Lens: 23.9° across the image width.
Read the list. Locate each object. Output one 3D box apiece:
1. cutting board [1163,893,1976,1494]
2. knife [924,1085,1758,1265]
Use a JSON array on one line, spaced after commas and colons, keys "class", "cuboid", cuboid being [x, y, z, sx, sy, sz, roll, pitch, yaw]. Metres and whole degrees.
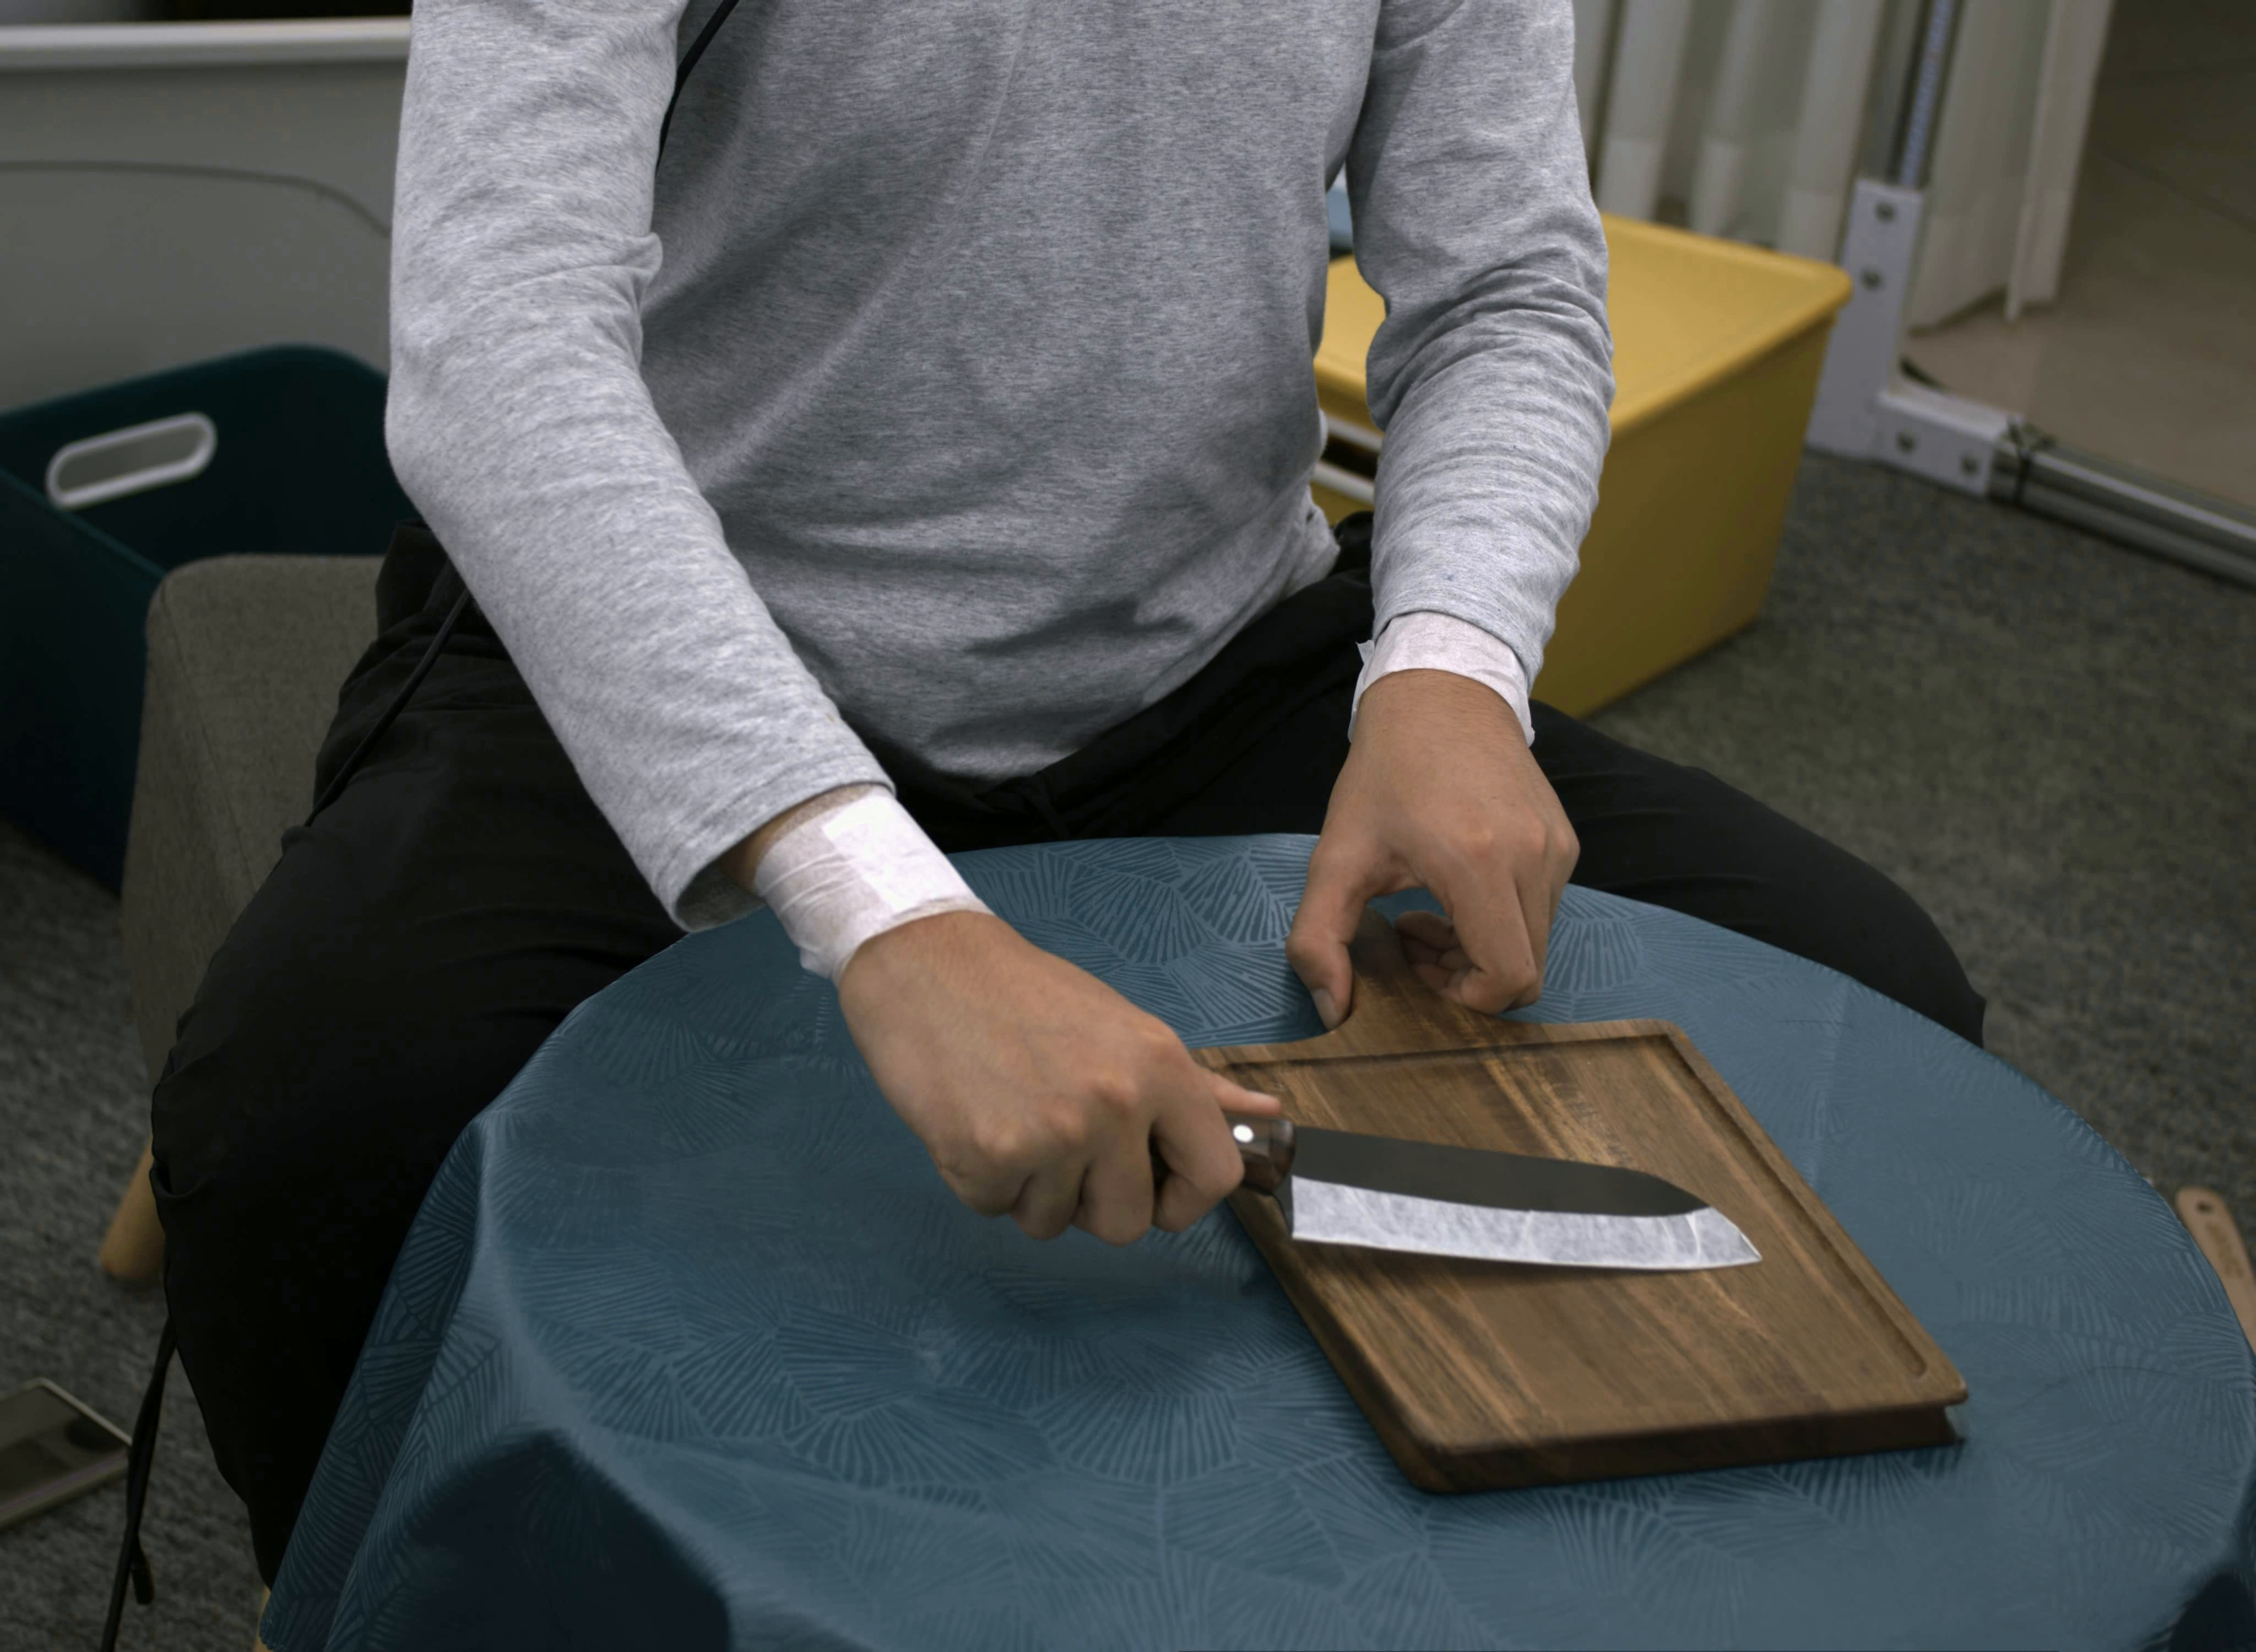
[{"class": "cutting board", "cuboid": [0.128, 0.115, 1.826, 0.200, 0.023, 0.355, -2, 28, -20]}, {"class": "knife", "cuboid": [0.073, 0.117, 1.750, 0.287, 0.020, 0.050, 9, 53, -13]}]
